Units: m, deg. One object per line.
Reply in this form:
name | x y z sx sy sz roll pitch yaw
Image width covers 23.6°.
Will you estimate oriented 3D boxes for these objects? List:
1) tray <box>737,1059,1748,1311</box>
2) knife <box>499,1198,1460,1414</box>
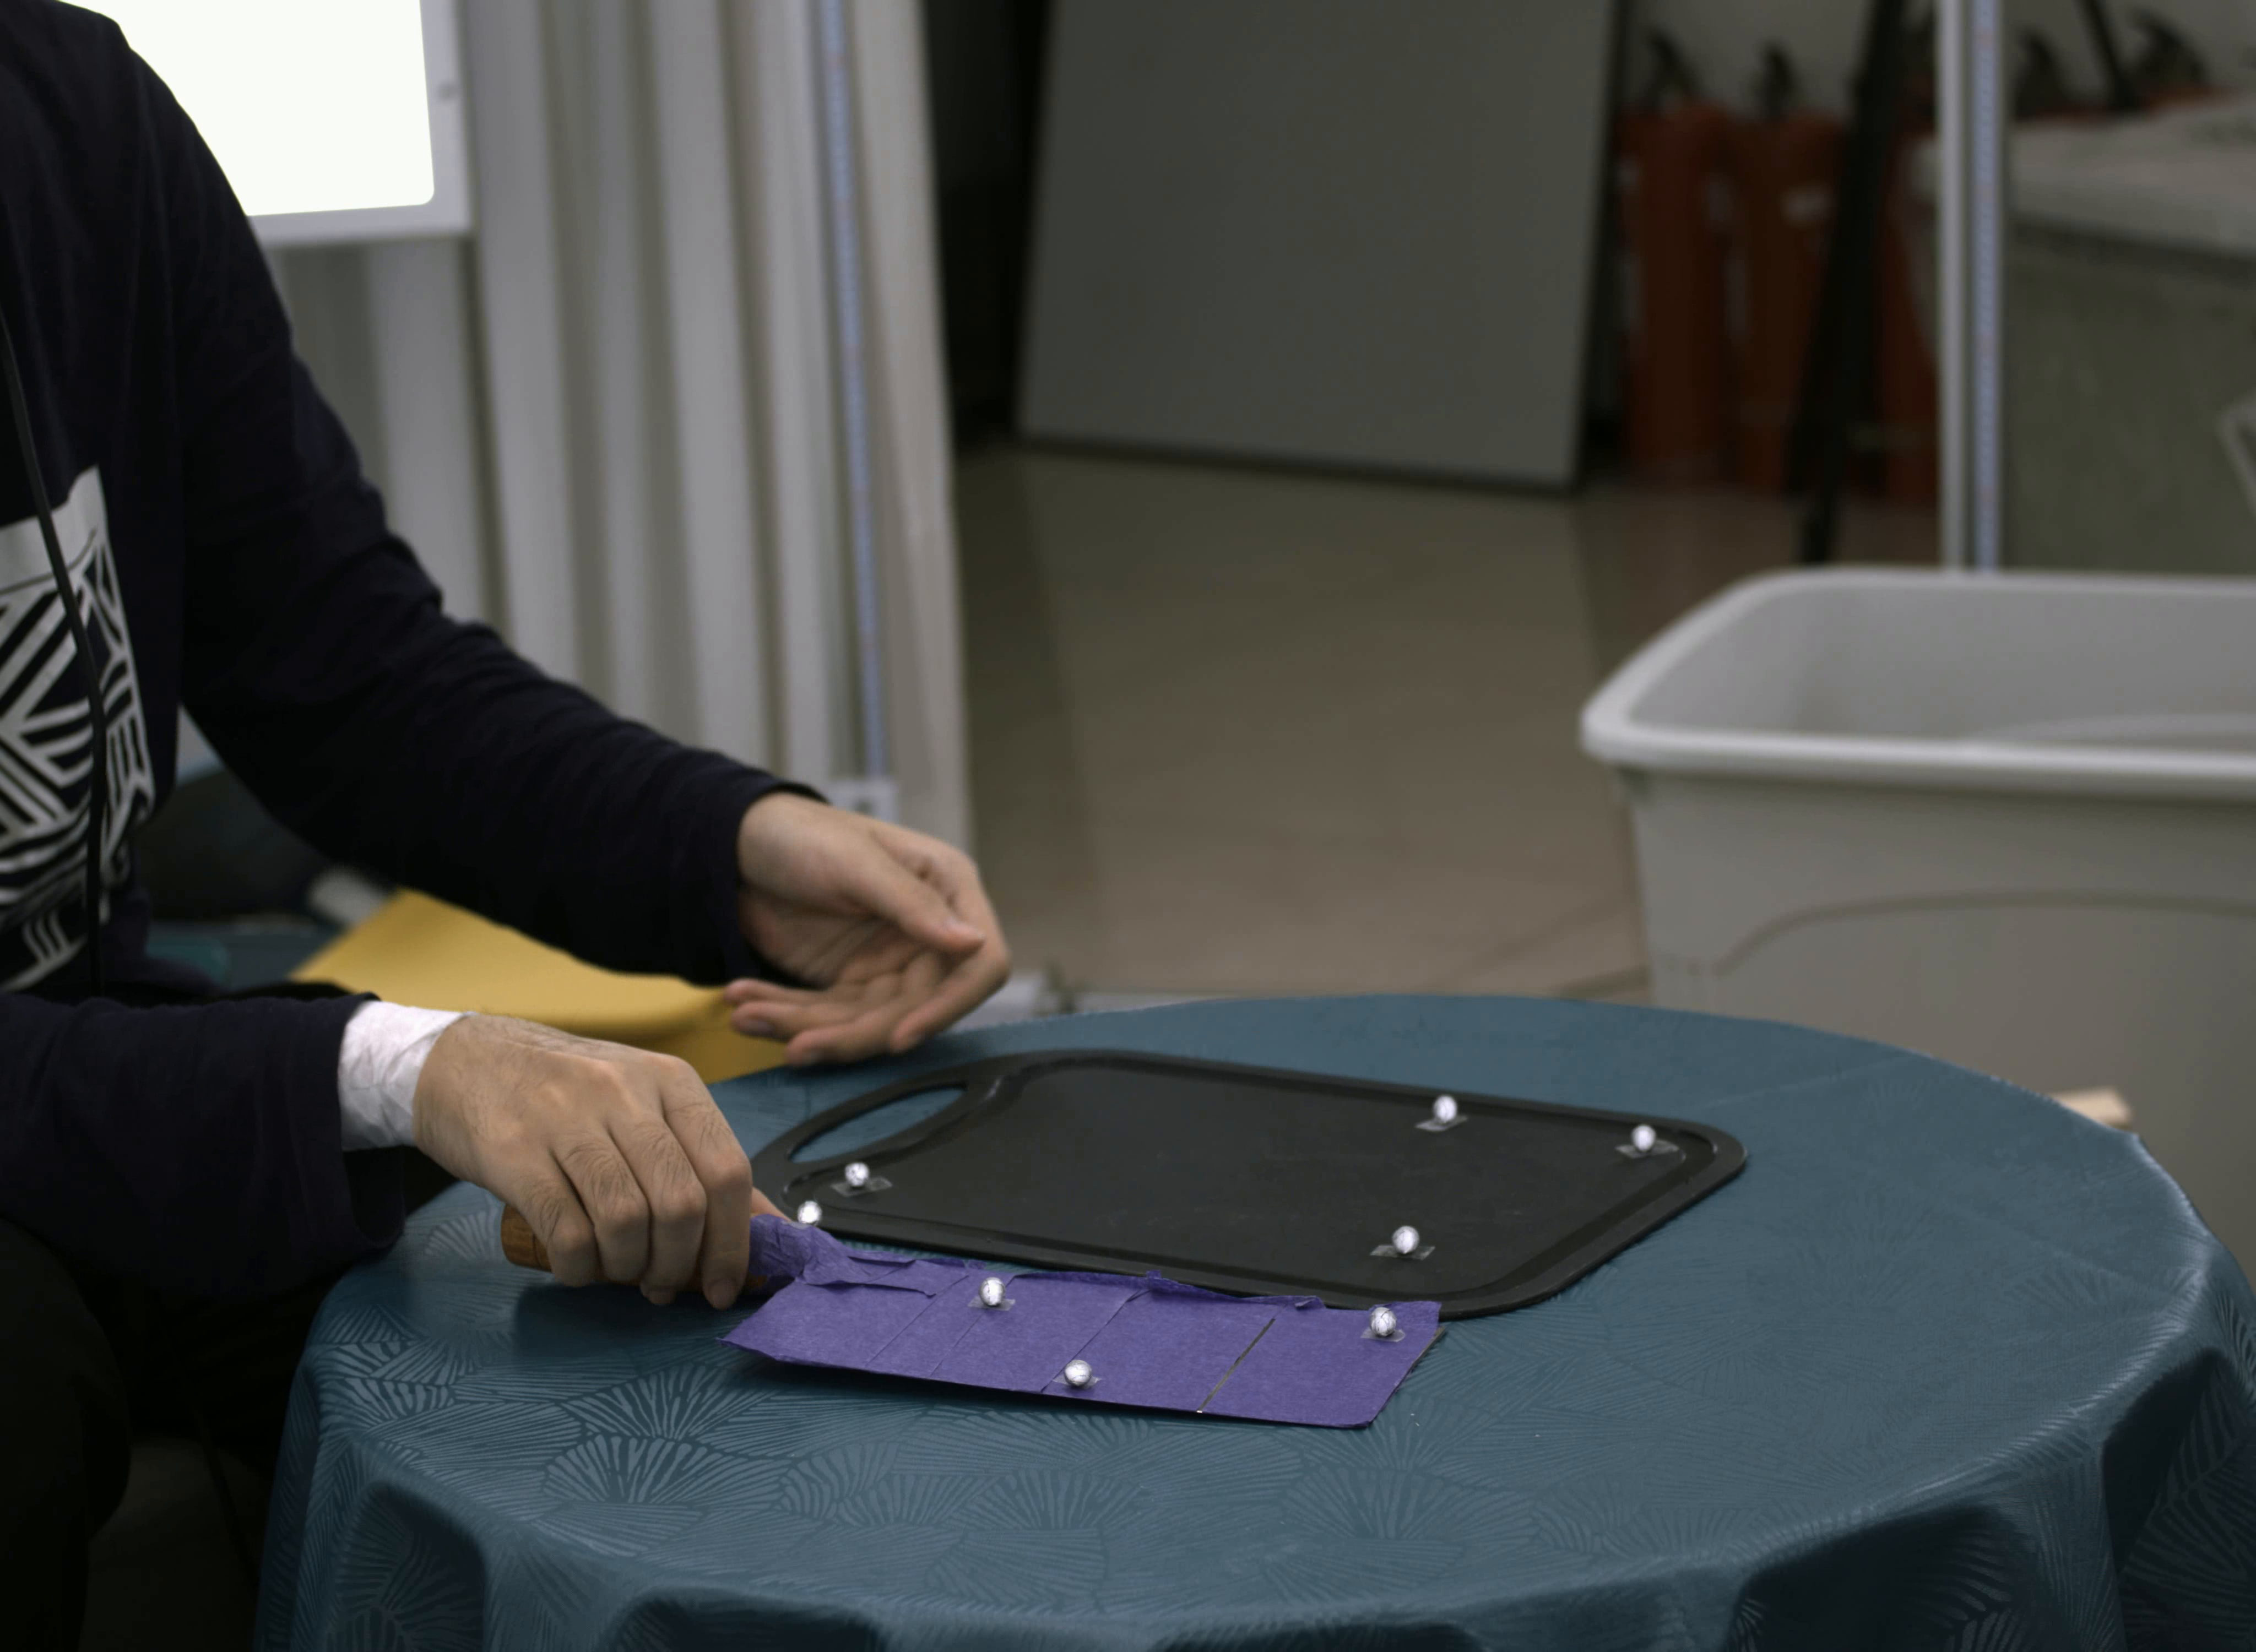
tray | 0.029 0.114 1.782 0.327 0.010 0.207 5 16 34
knife | -0.059 0.145 1.636 0.315 0.032 0.103 2 14 22
